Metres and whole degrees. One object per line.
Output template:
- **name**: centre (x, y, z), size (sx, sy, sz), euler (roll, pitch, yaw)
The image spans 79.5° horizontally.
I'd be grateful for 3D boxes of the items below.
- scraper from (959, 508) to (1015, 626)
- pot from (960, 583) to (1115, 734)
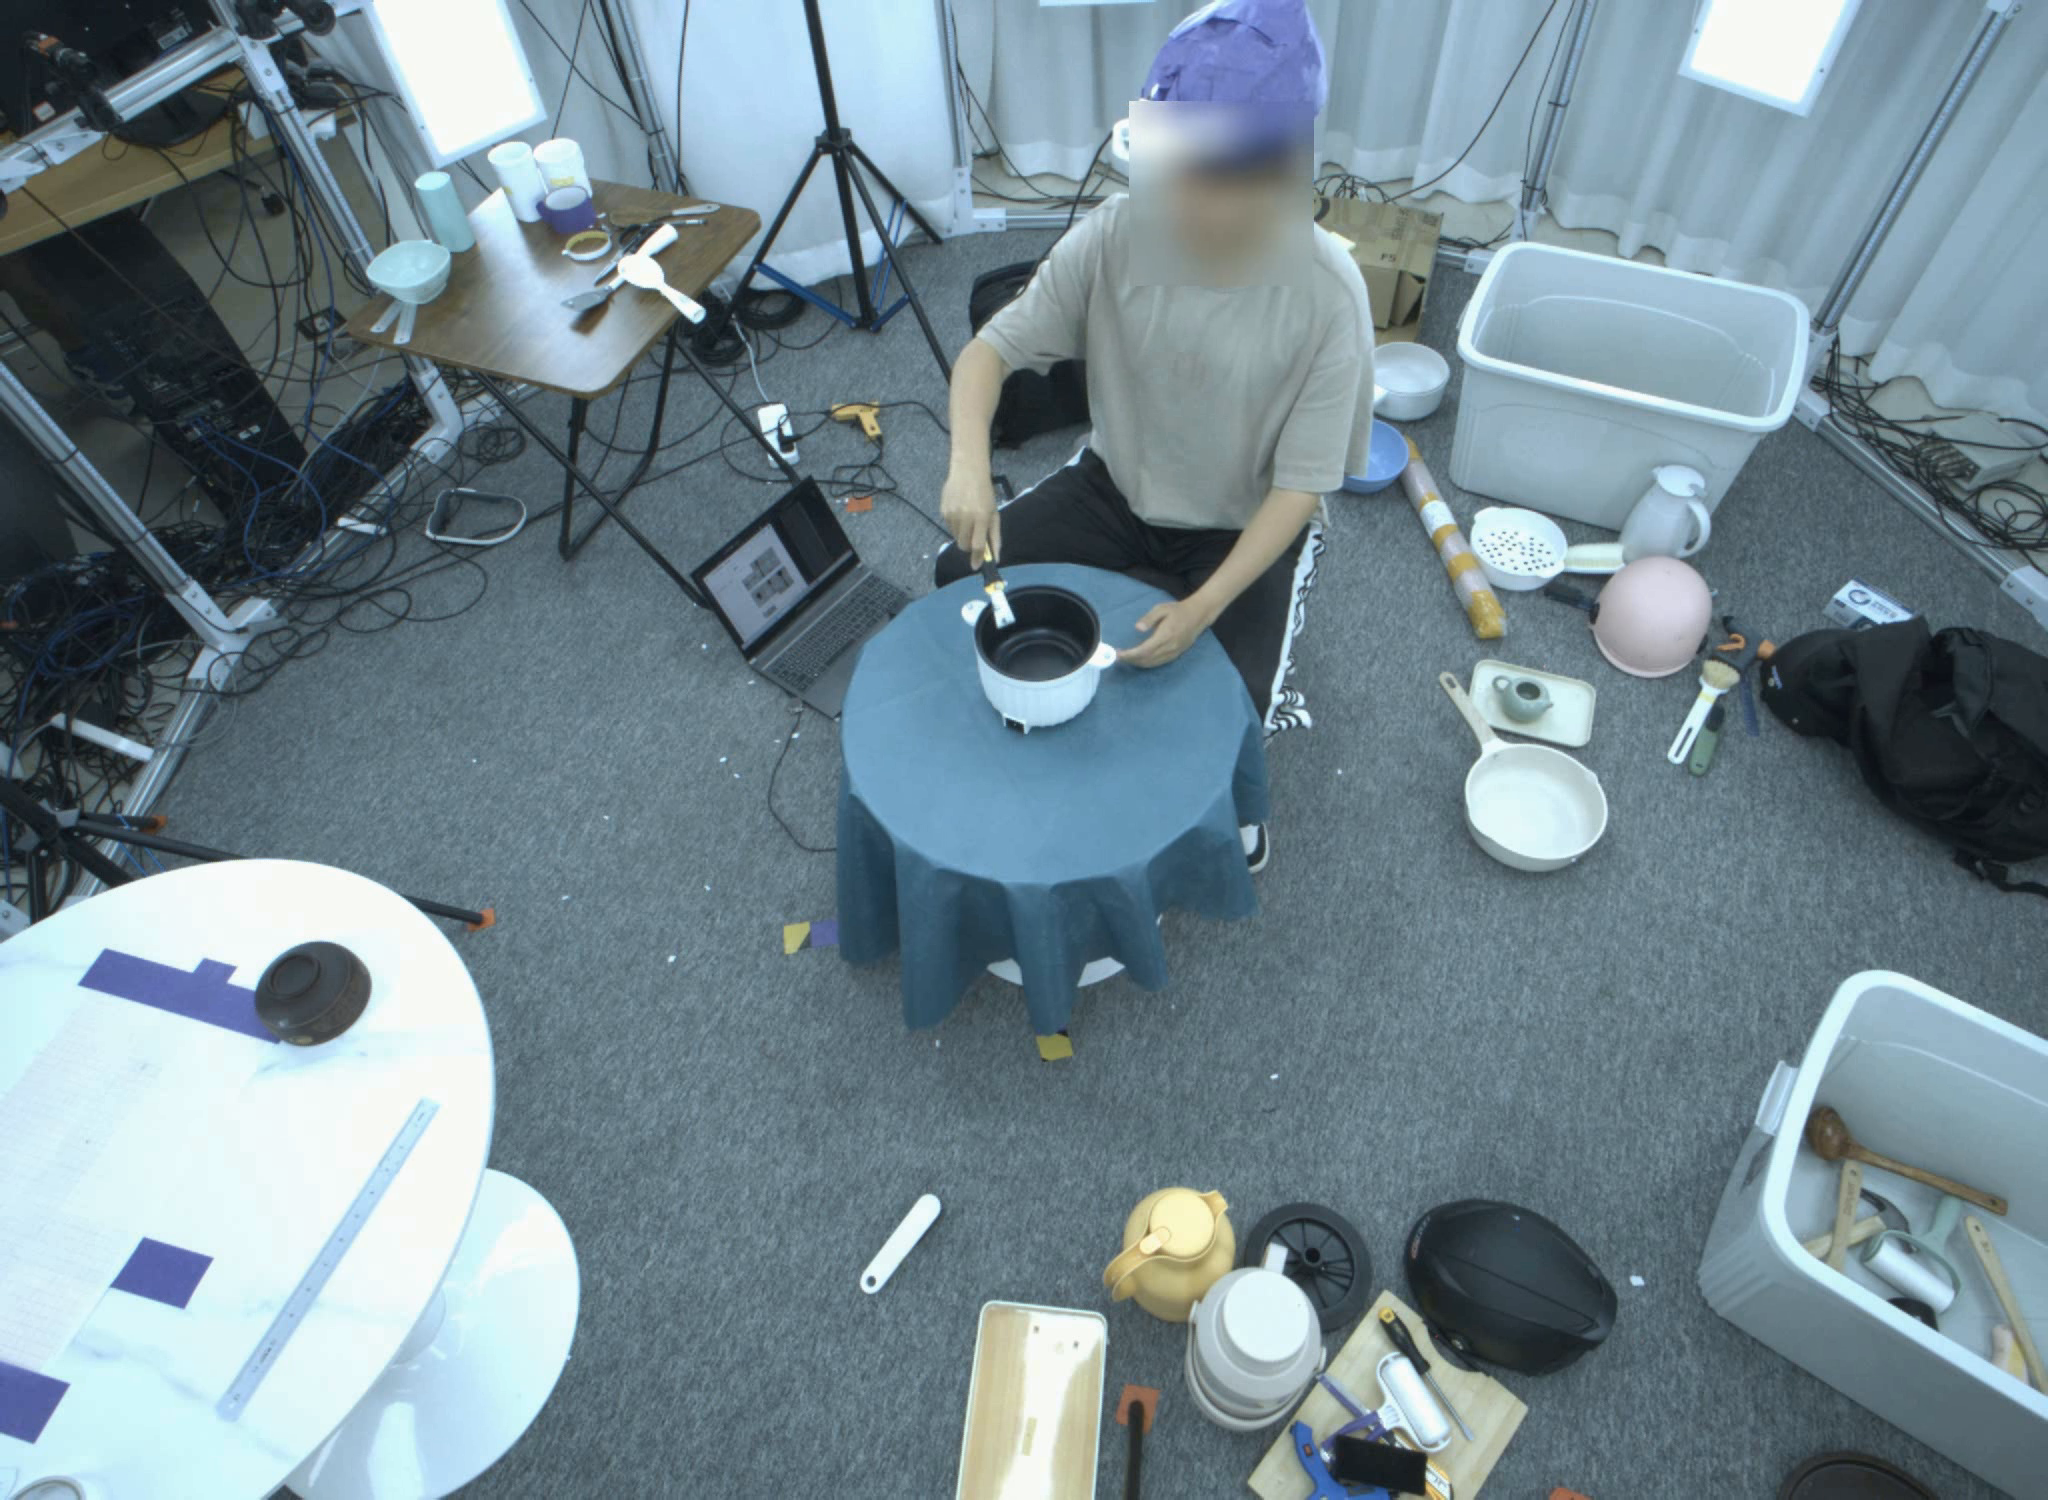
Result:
- **scraper**: centre (-0.054, -0.258, 1.722), size (0.039, 0.172, 0.014), euler (-28, 17, -29)
- **pot**: centre (0.023, -0.135, 1.794), size (0.237, 0.144, 0.190), euler (21, 62, 15)
